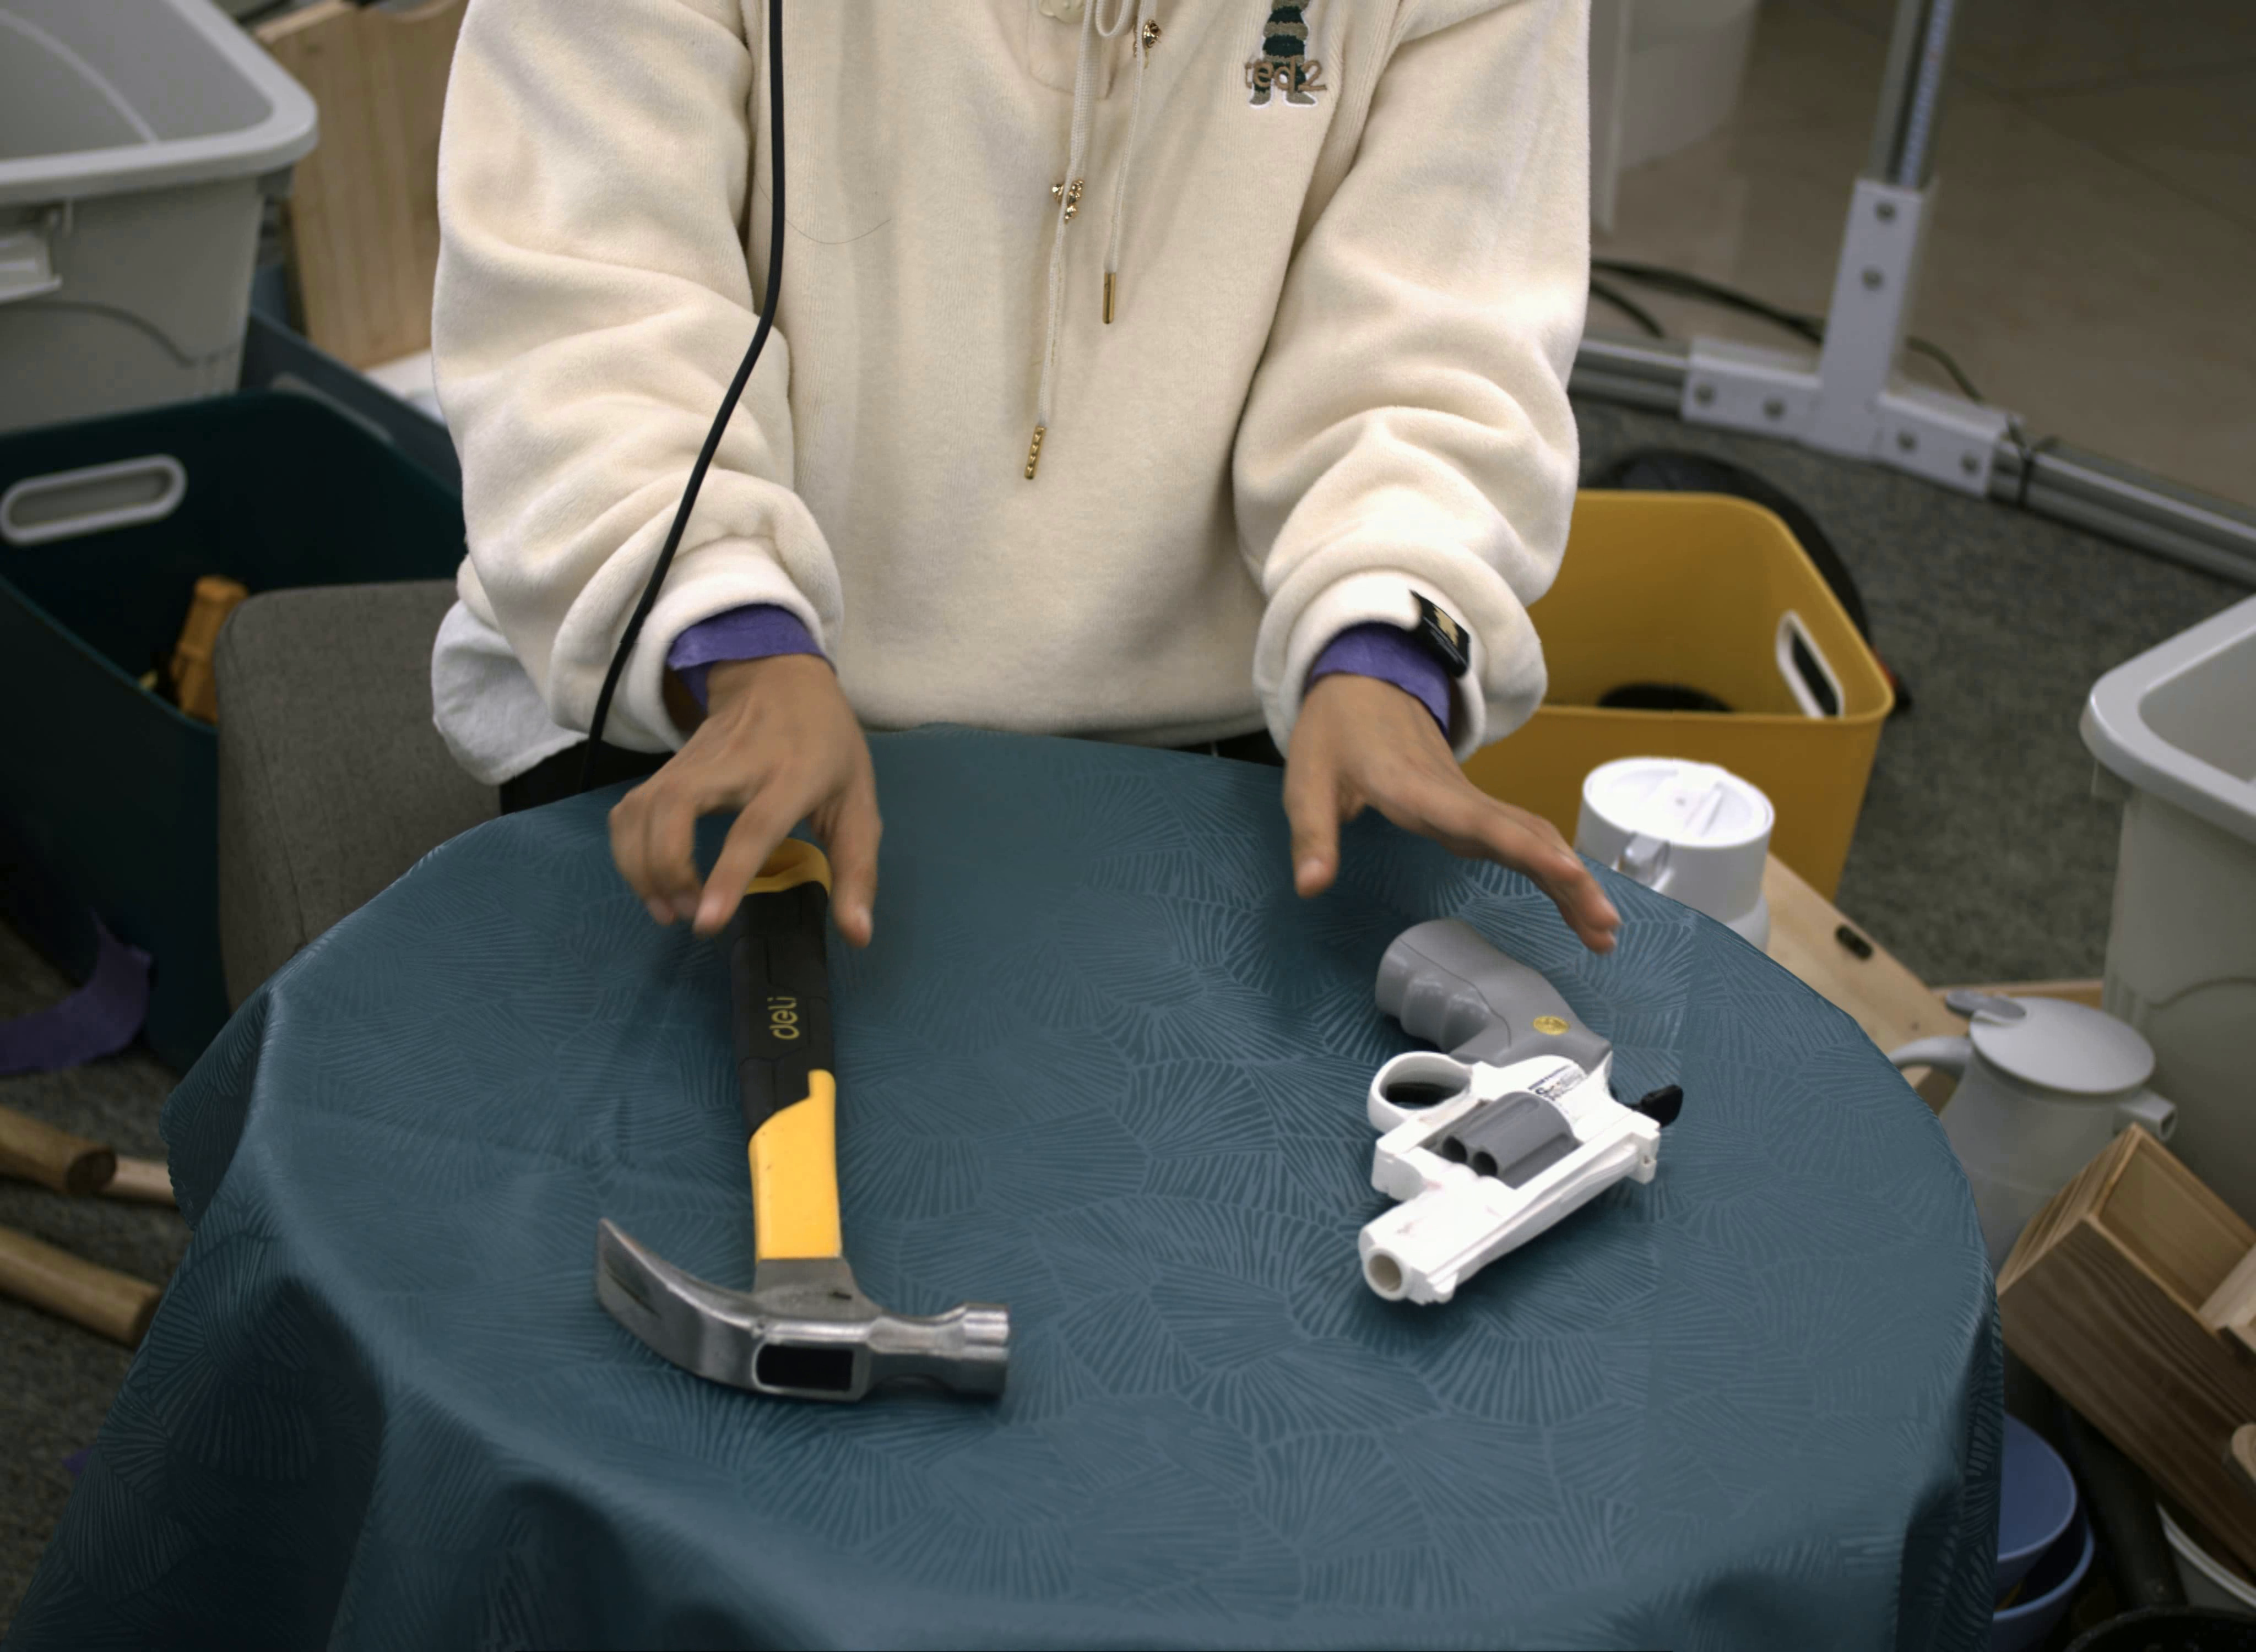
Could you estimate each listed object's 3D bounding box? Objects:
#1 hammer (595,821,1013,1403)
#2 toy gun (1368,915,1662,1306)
[{"bbox_3d":[-0.115,0.088,1.805,0.131,0.032,0.341,1,28,-6],"label":"hammer"},{"bbox_3d":[0.110,0.097,1.836,0.142,0.038,0.208,24,32,28],"label":"toy gun"}]
